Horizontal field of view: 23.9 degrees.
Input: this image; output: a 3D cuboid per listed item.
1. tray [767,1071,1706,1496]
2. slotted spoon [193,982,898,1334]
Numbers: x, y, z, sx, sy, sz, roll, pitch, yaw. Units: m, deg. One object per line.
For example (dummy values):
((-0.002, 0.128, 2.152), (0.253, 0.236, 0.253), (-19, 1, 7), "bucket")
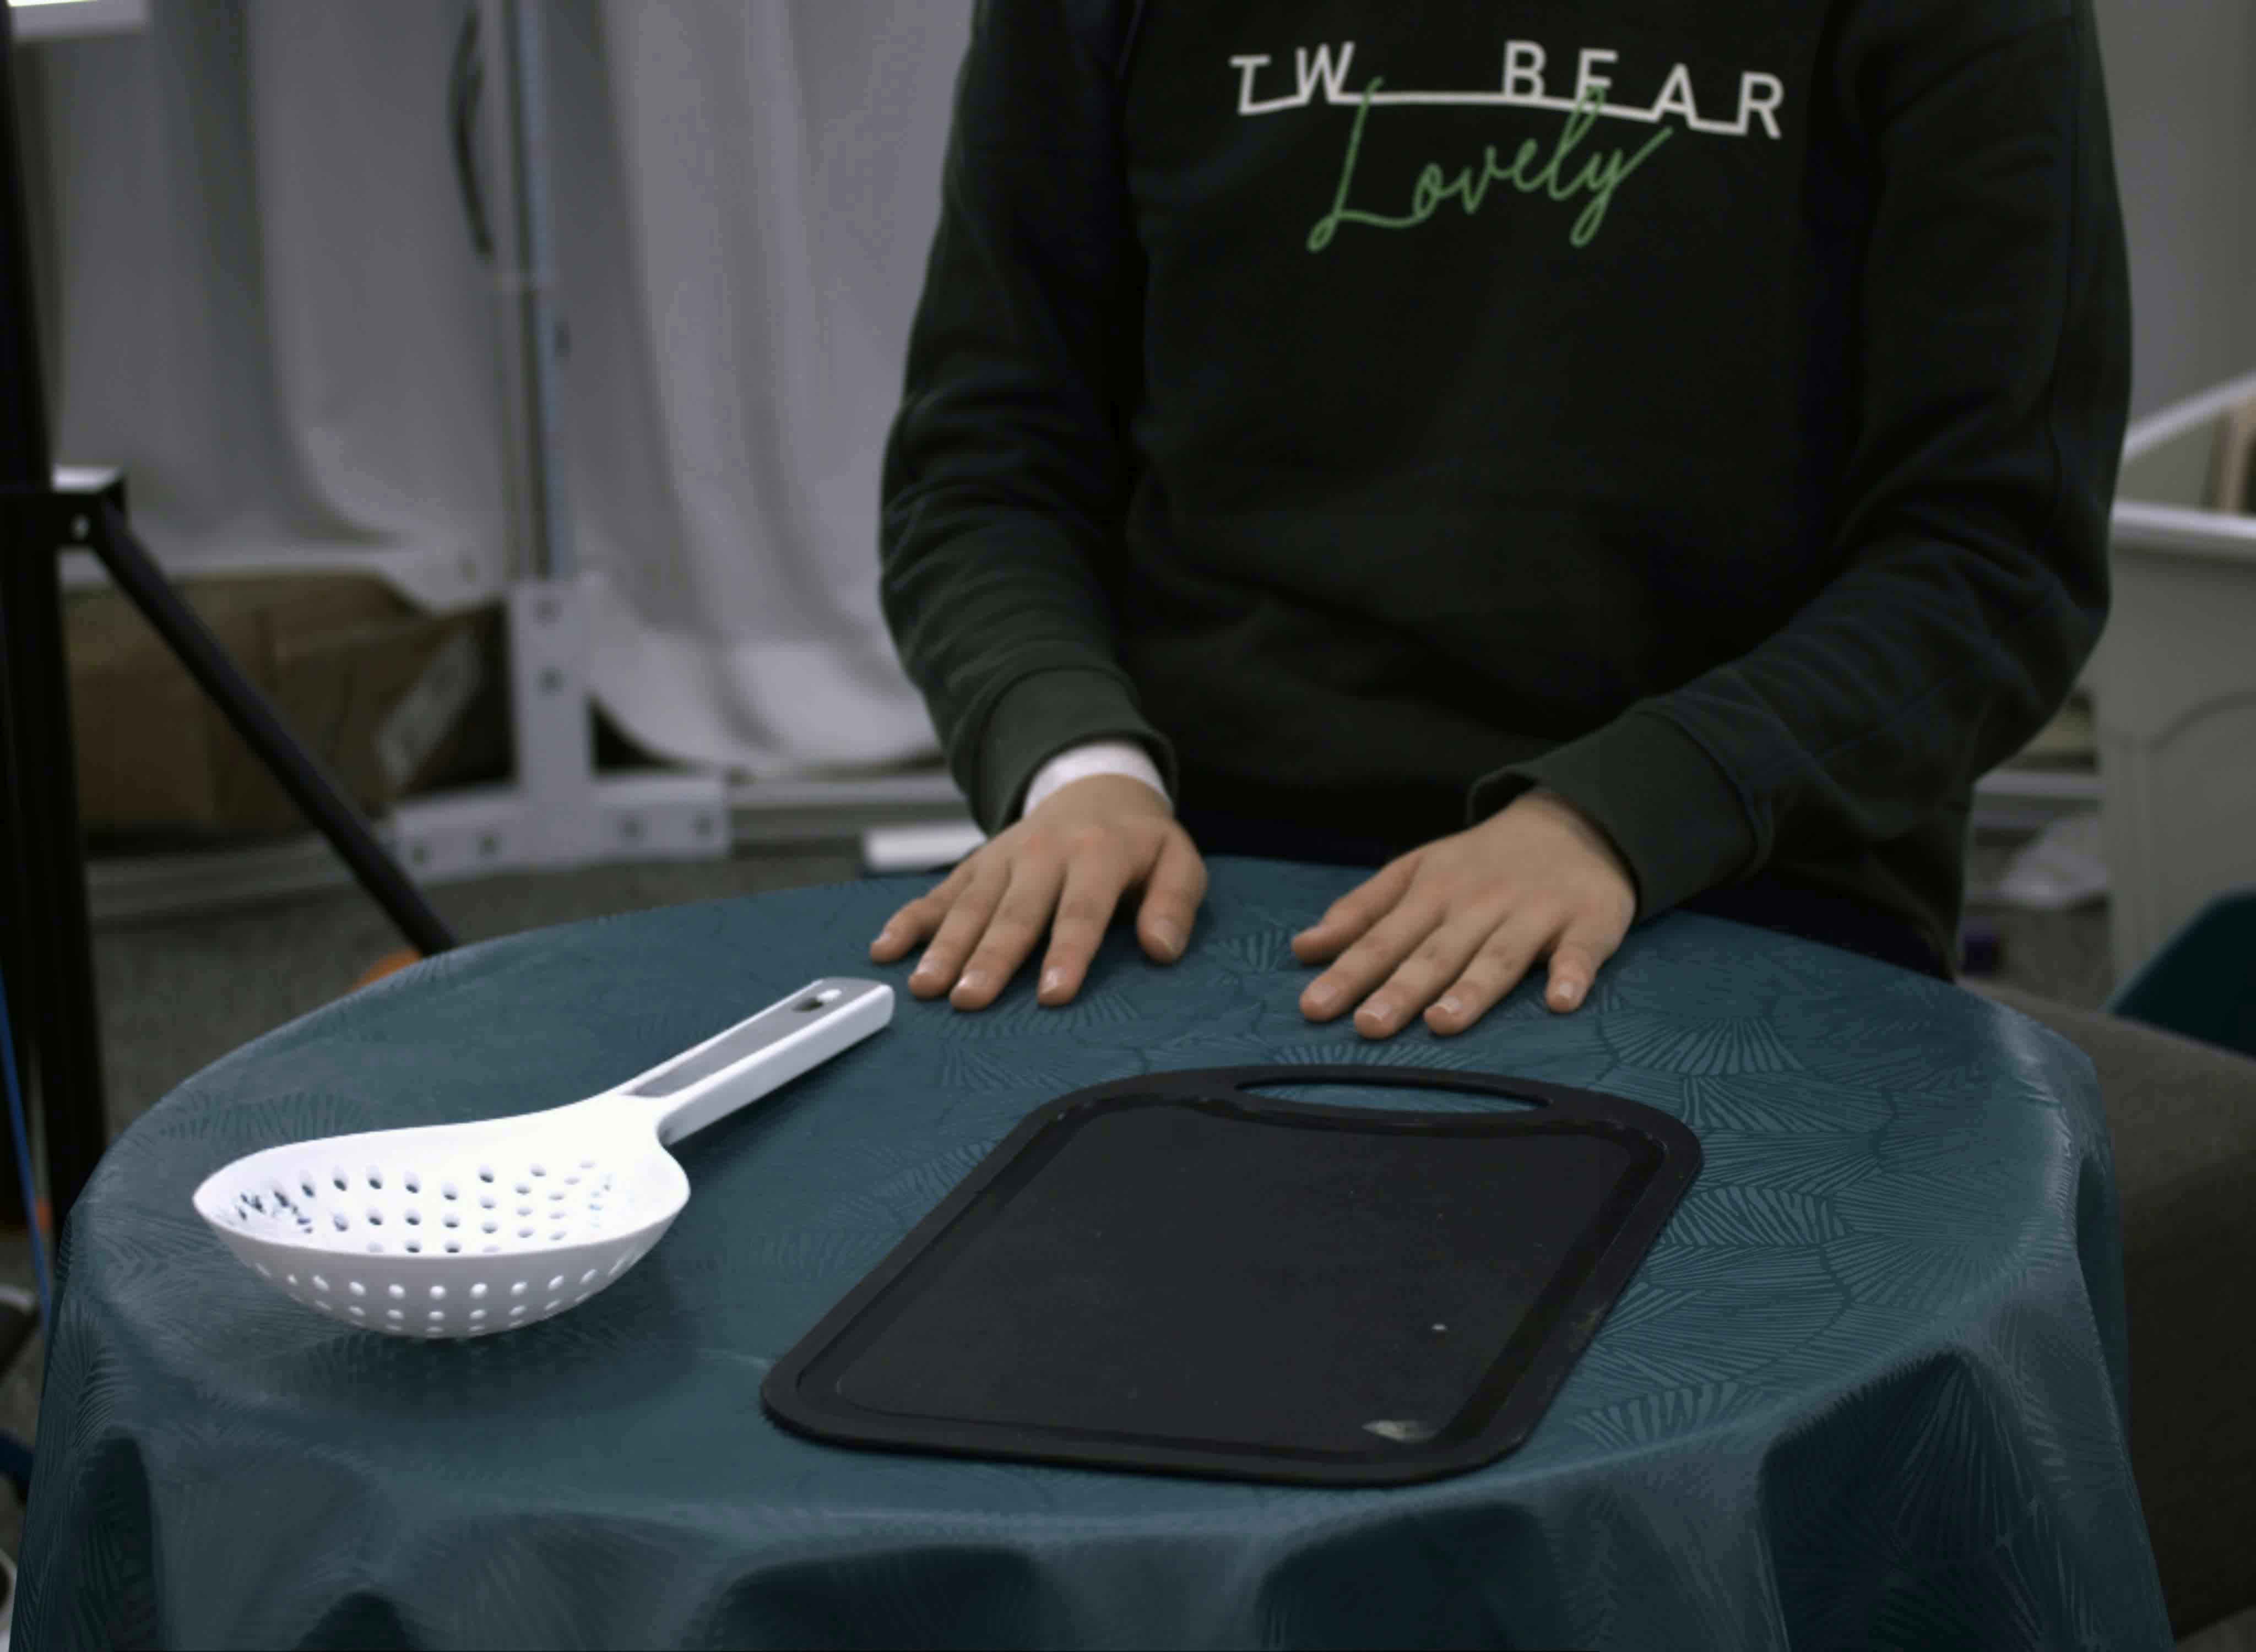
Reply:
((0.040, 0.120, 1.497), (0.213, 0.010, 0.322), (3, 16, 19), "tray")
((-0.150, 0.088, 1.570), (0.138, 0.046, 0.345), (6, 17, 21), "slotted spoon")
